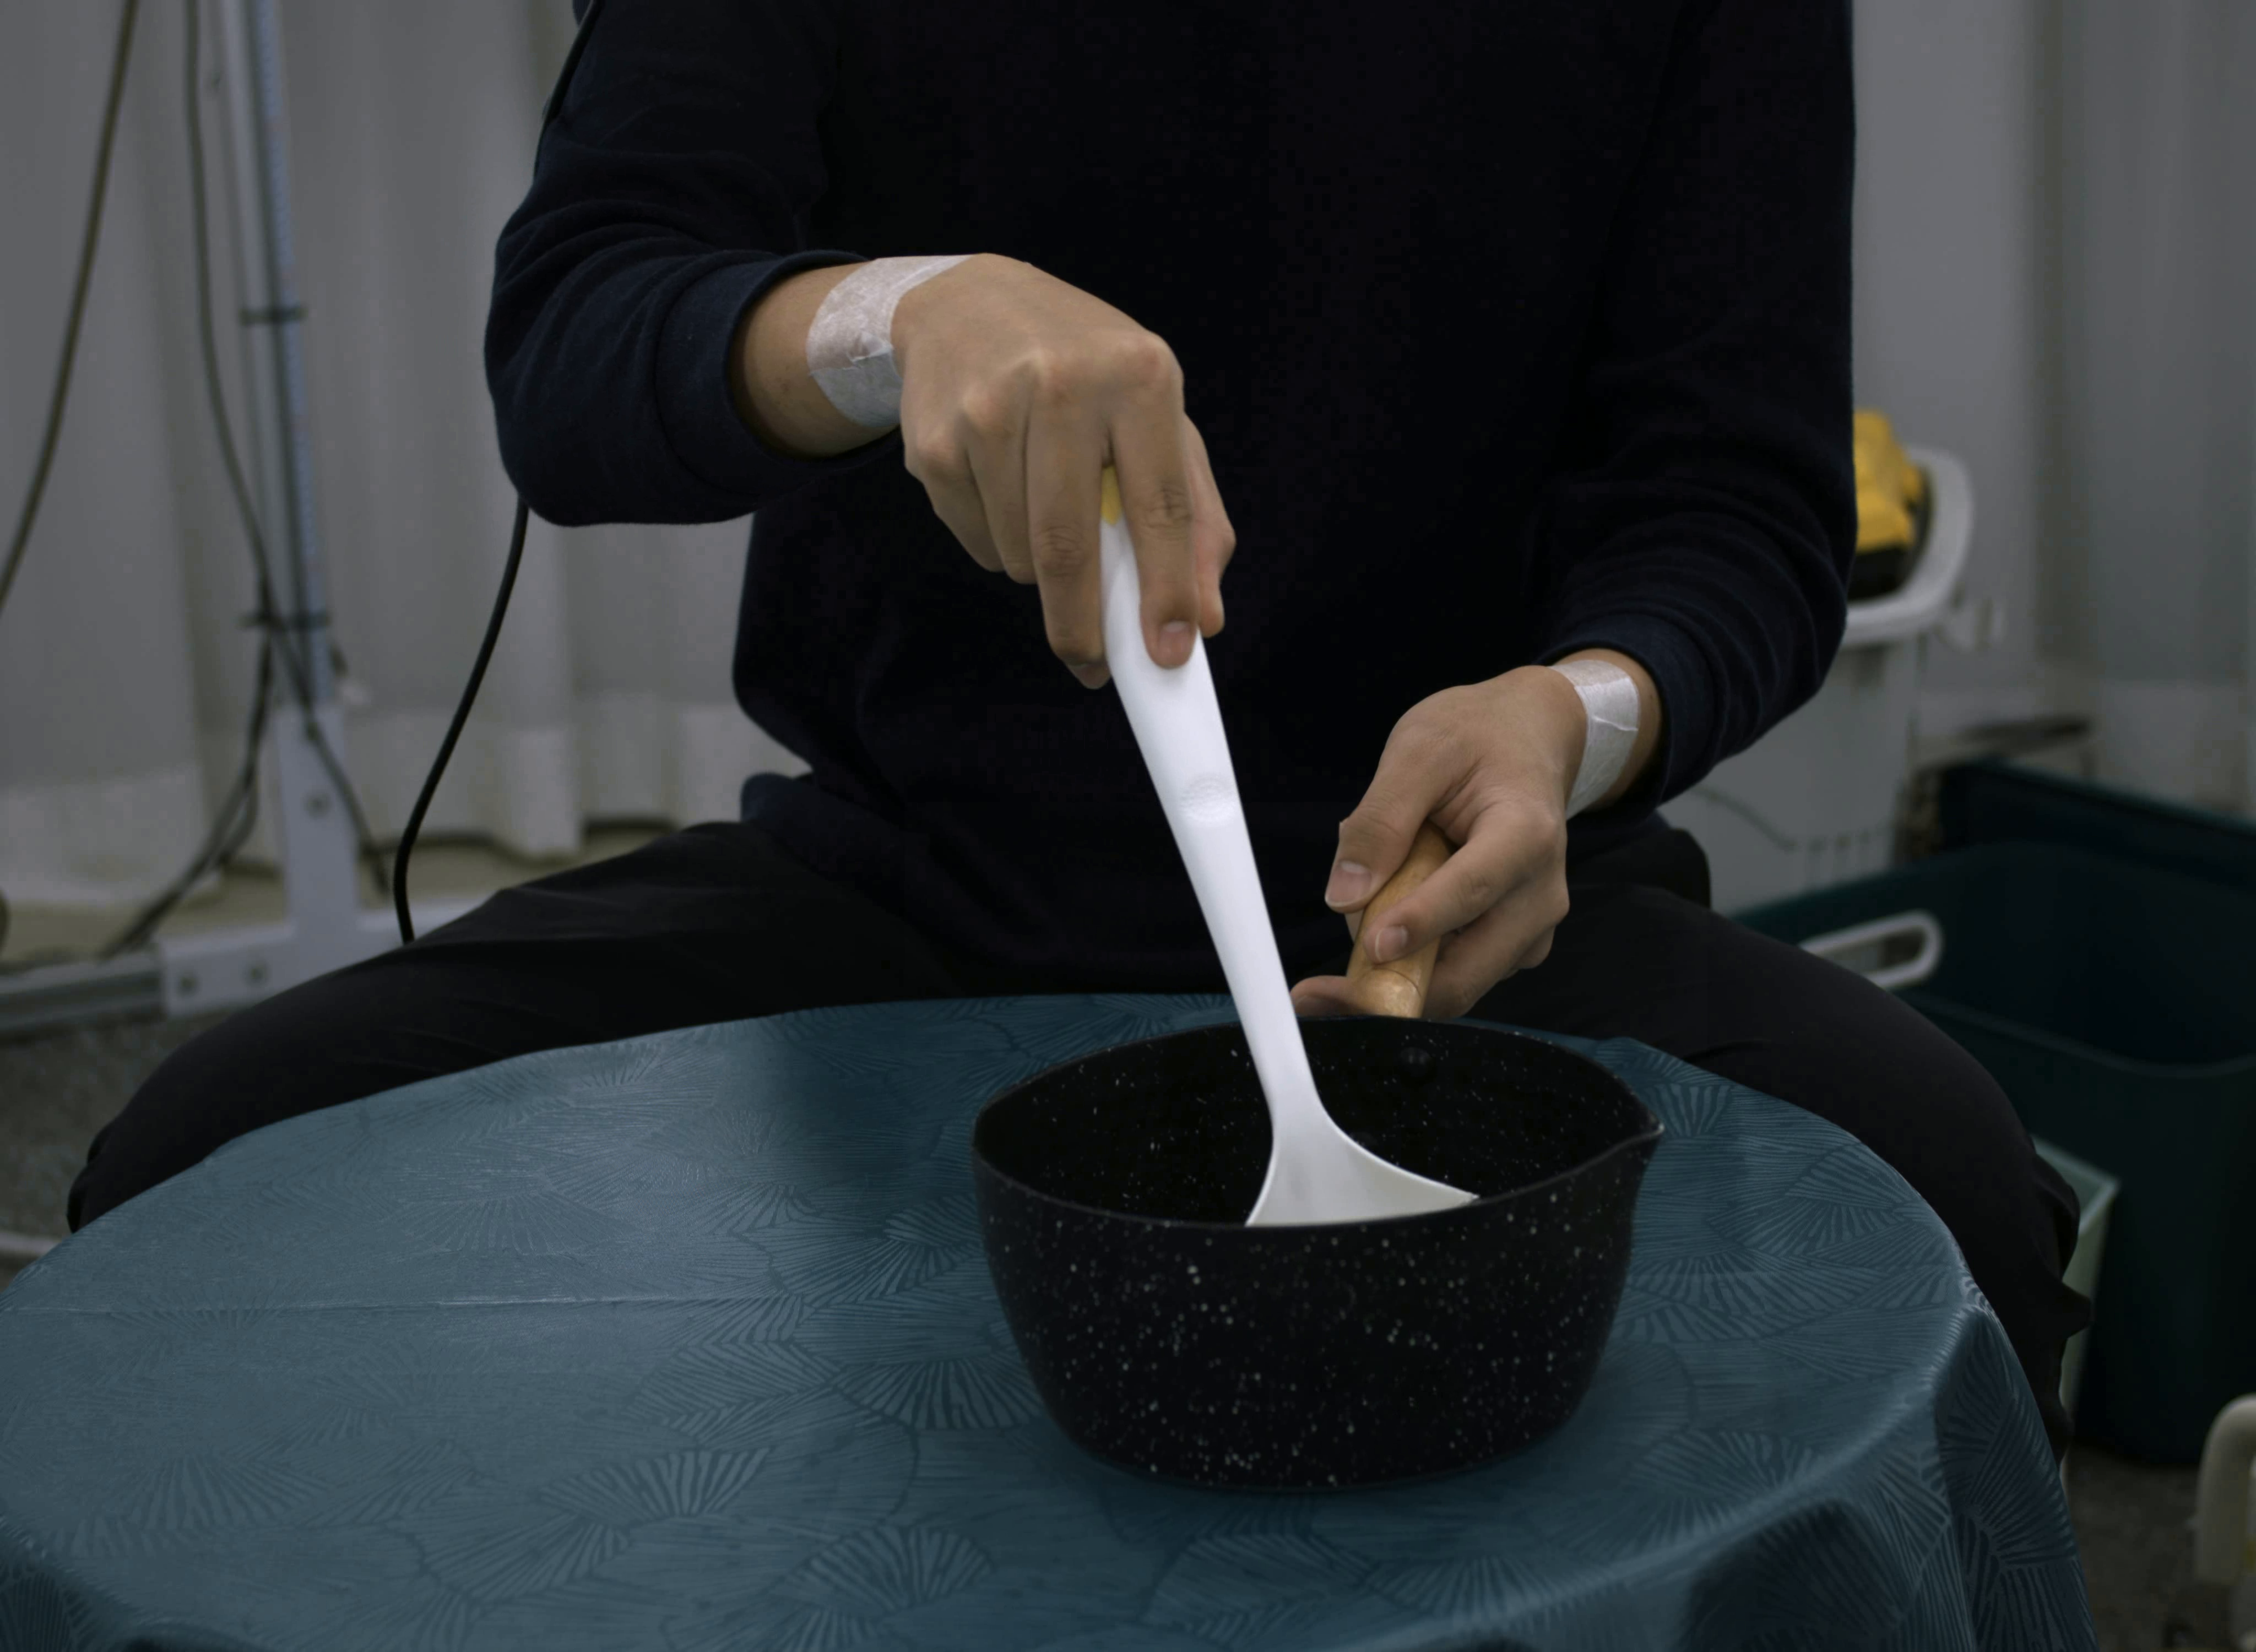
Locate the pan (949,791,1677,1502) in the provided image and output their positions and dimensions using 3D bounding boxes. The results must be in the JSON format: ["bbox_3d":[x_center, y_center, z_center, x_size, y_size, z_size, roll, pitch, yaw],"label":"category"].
[{"bbox_3d":[0.064,0.088,1.596,0.207,0.108,0.345,-1,16,11],"label":"pan"}]

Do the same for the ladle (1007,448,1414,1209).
[{"bbox_3d":[0.023,0.026,1.562,0.090,0.295,0.069,-18,-13,0],"label":"ladle"}]
